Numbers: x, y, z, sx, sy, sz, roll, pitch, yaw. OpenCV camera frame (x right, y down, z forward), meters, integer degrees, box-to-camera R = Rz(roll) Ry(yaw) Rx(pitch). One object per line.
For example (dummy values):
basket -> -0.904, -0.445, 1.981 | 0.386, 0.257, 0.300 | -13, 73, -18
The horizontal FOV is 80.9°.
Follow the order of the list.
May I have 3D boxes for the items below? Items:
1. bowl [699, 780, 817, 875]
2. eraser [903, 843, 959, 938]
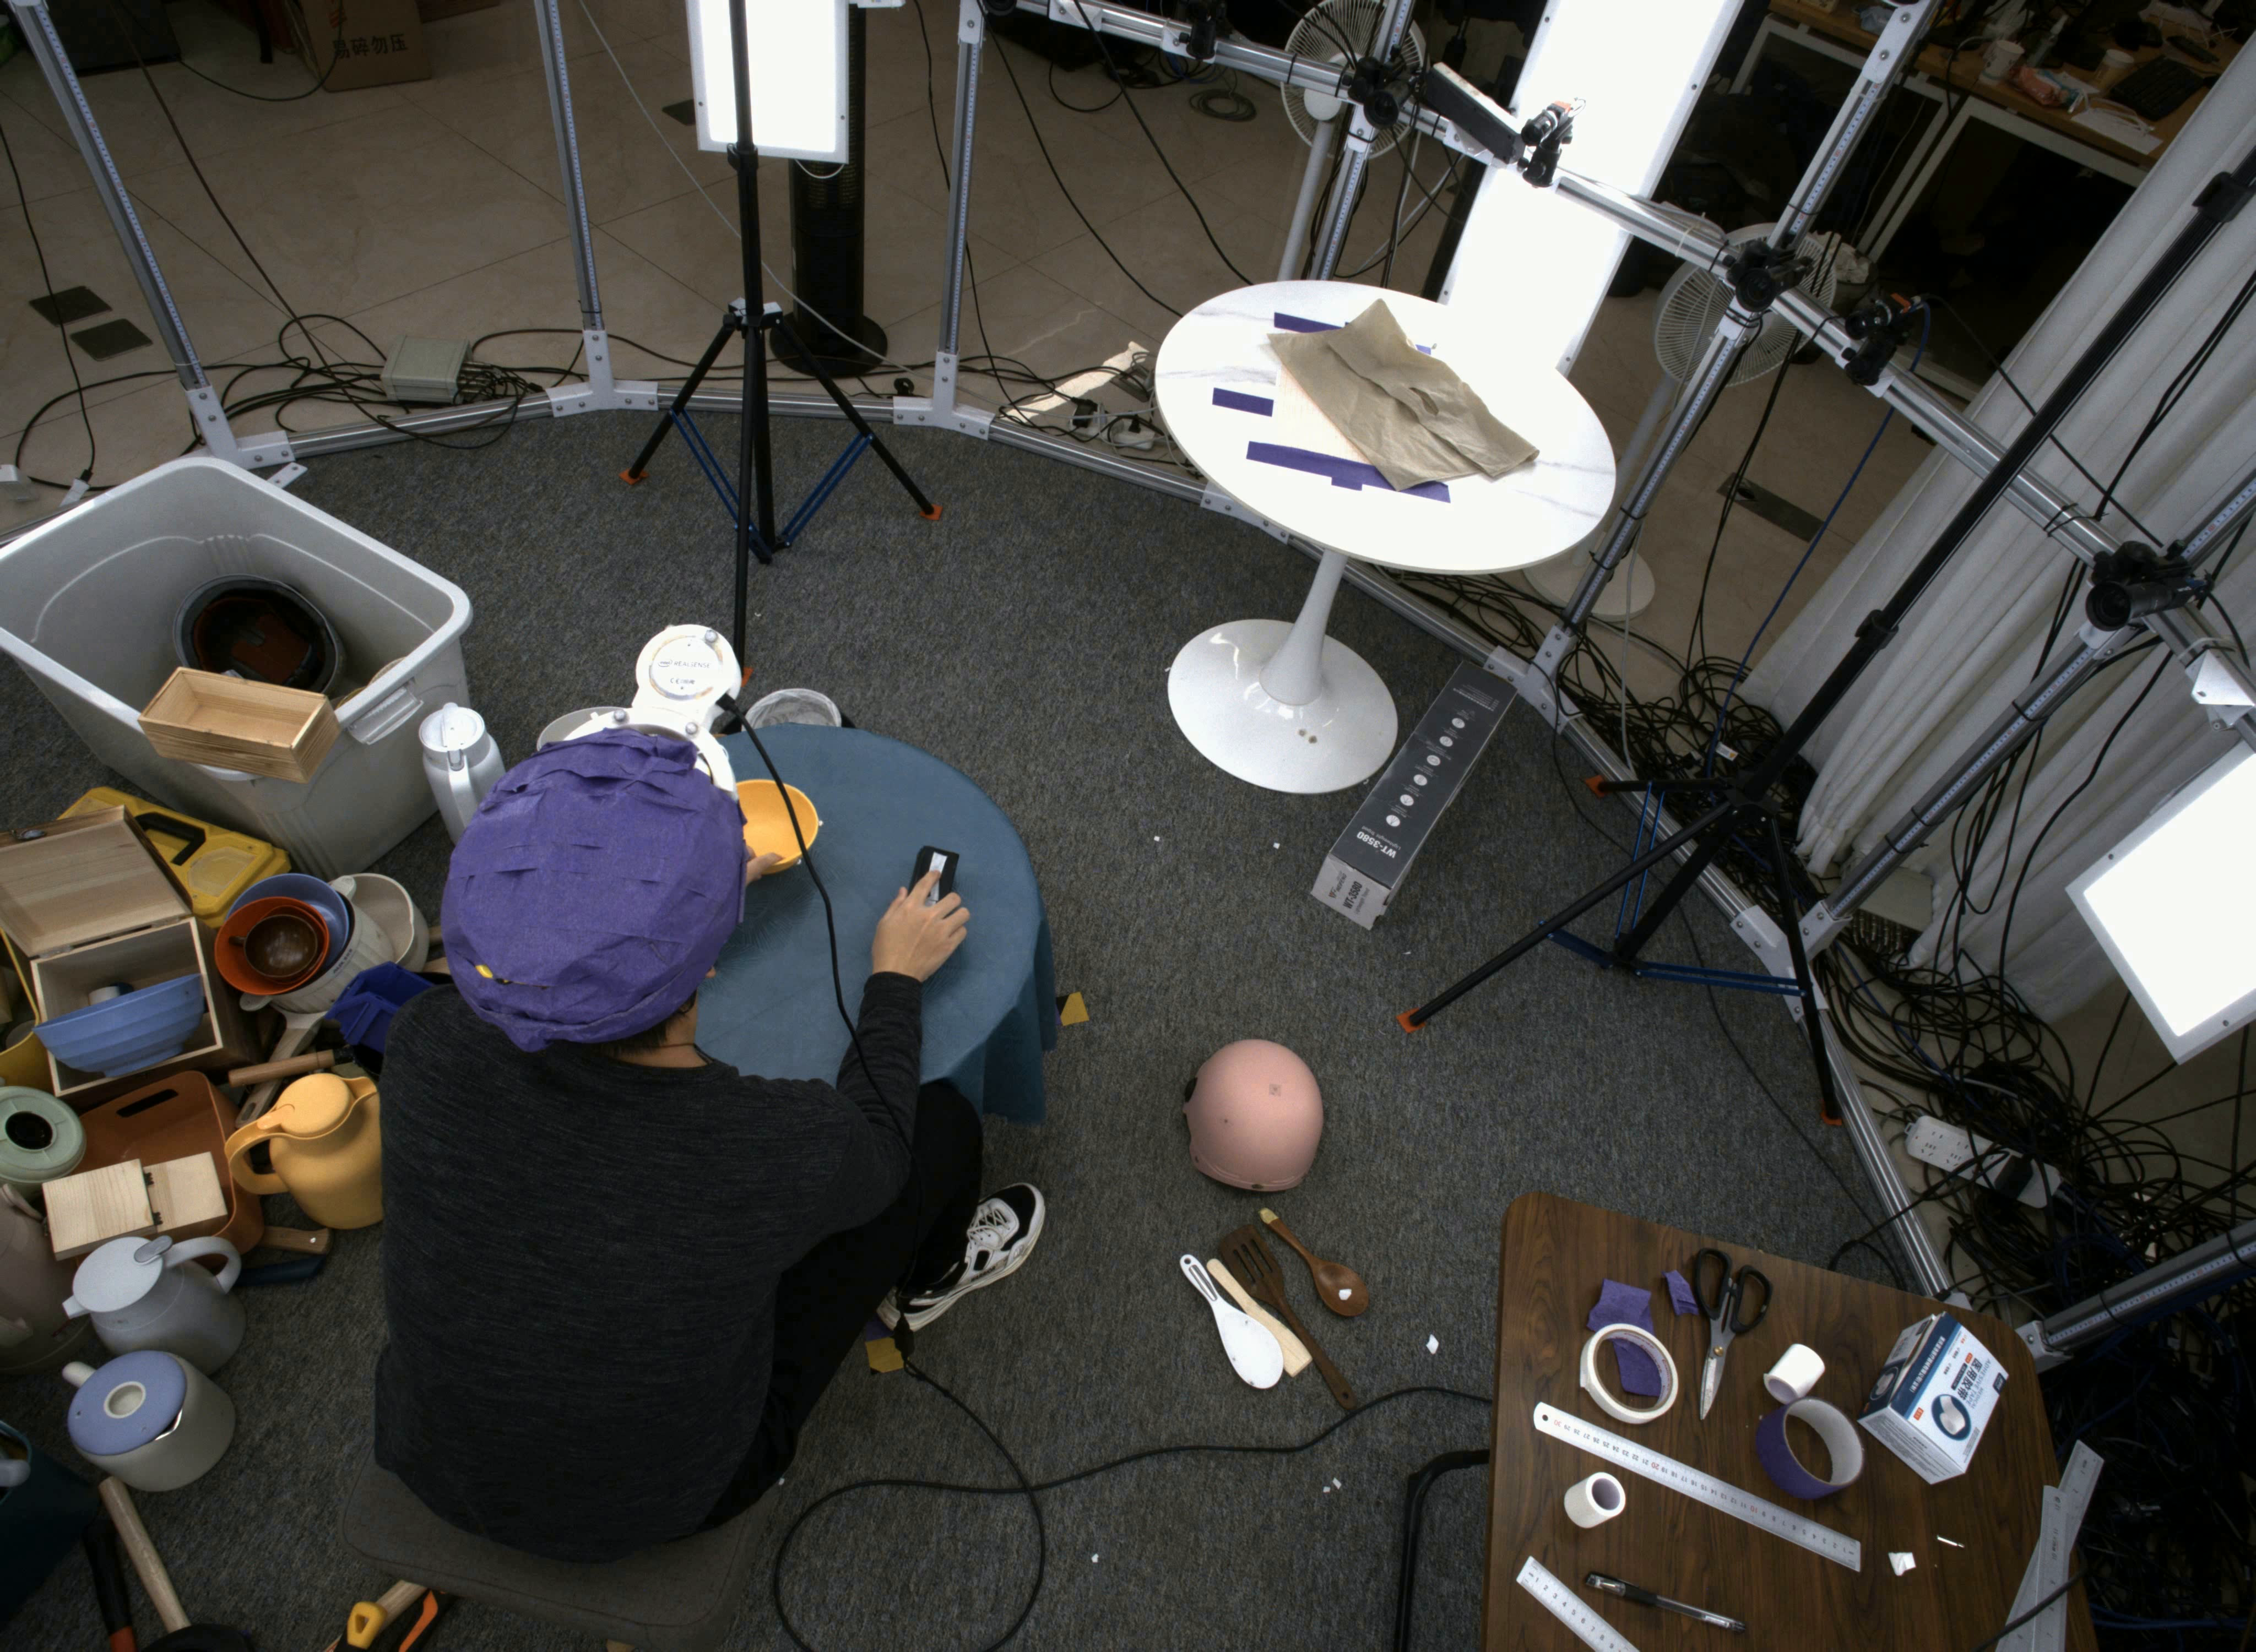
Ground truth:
bowl -> -0.467, 0.012, 1.637 | 0.145, 0.061, 0.142 | 8, 48, -7
eraser -> -0.250, 0.079, 1.654 | 0.054, 0.031, 0.123 | 15, 51, -12
